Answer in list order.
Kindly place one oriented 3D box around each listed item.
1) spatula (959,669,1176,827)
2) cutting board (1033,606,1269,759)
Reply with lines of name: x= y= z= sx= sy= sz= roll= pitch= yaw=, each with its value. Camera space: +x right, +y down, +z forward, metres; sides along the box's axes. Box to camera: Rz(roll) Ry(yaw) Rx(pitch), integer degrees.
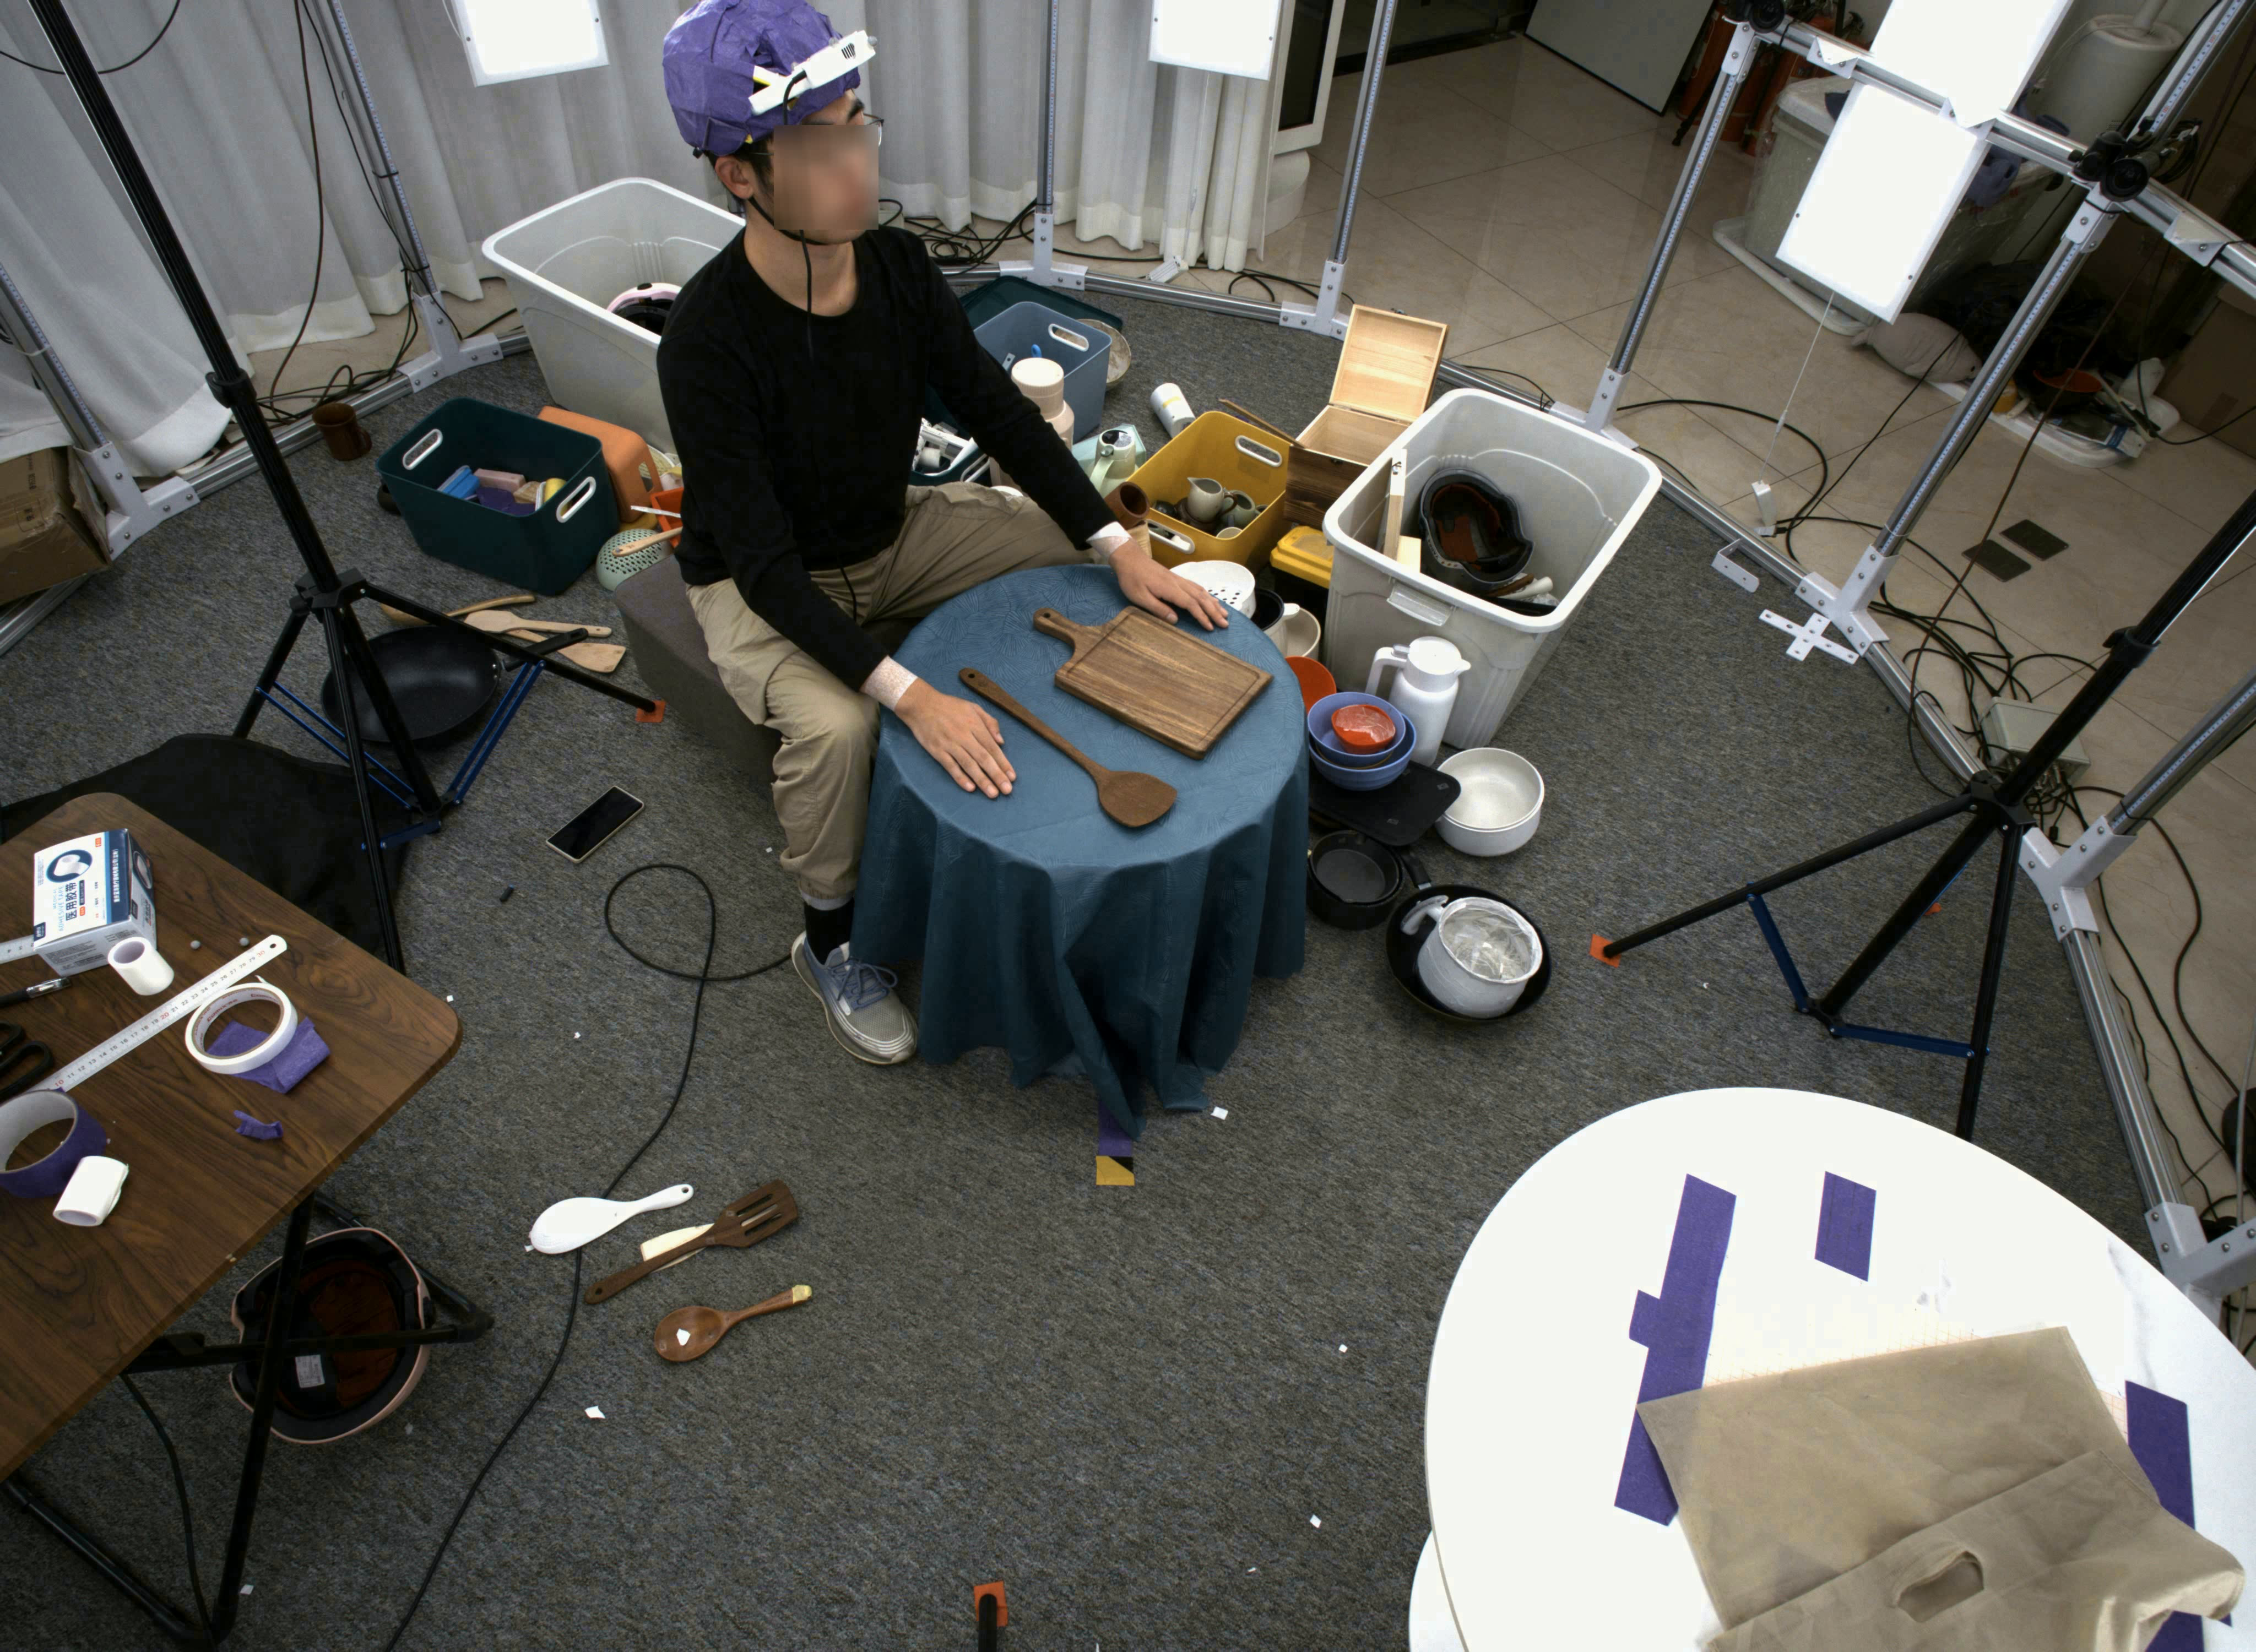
spatula: x=-0.098 y=-0.118 z=1.756 sx=0.391 sy=0.015 sz=0.097 roll=37 pitch=56 yaw=25
cutting board: x=0.009 y=-0.235 z=1.861 sx=0.355 sy=0.022 sz=0.204 roll=29 pitch=53 yaw=20
